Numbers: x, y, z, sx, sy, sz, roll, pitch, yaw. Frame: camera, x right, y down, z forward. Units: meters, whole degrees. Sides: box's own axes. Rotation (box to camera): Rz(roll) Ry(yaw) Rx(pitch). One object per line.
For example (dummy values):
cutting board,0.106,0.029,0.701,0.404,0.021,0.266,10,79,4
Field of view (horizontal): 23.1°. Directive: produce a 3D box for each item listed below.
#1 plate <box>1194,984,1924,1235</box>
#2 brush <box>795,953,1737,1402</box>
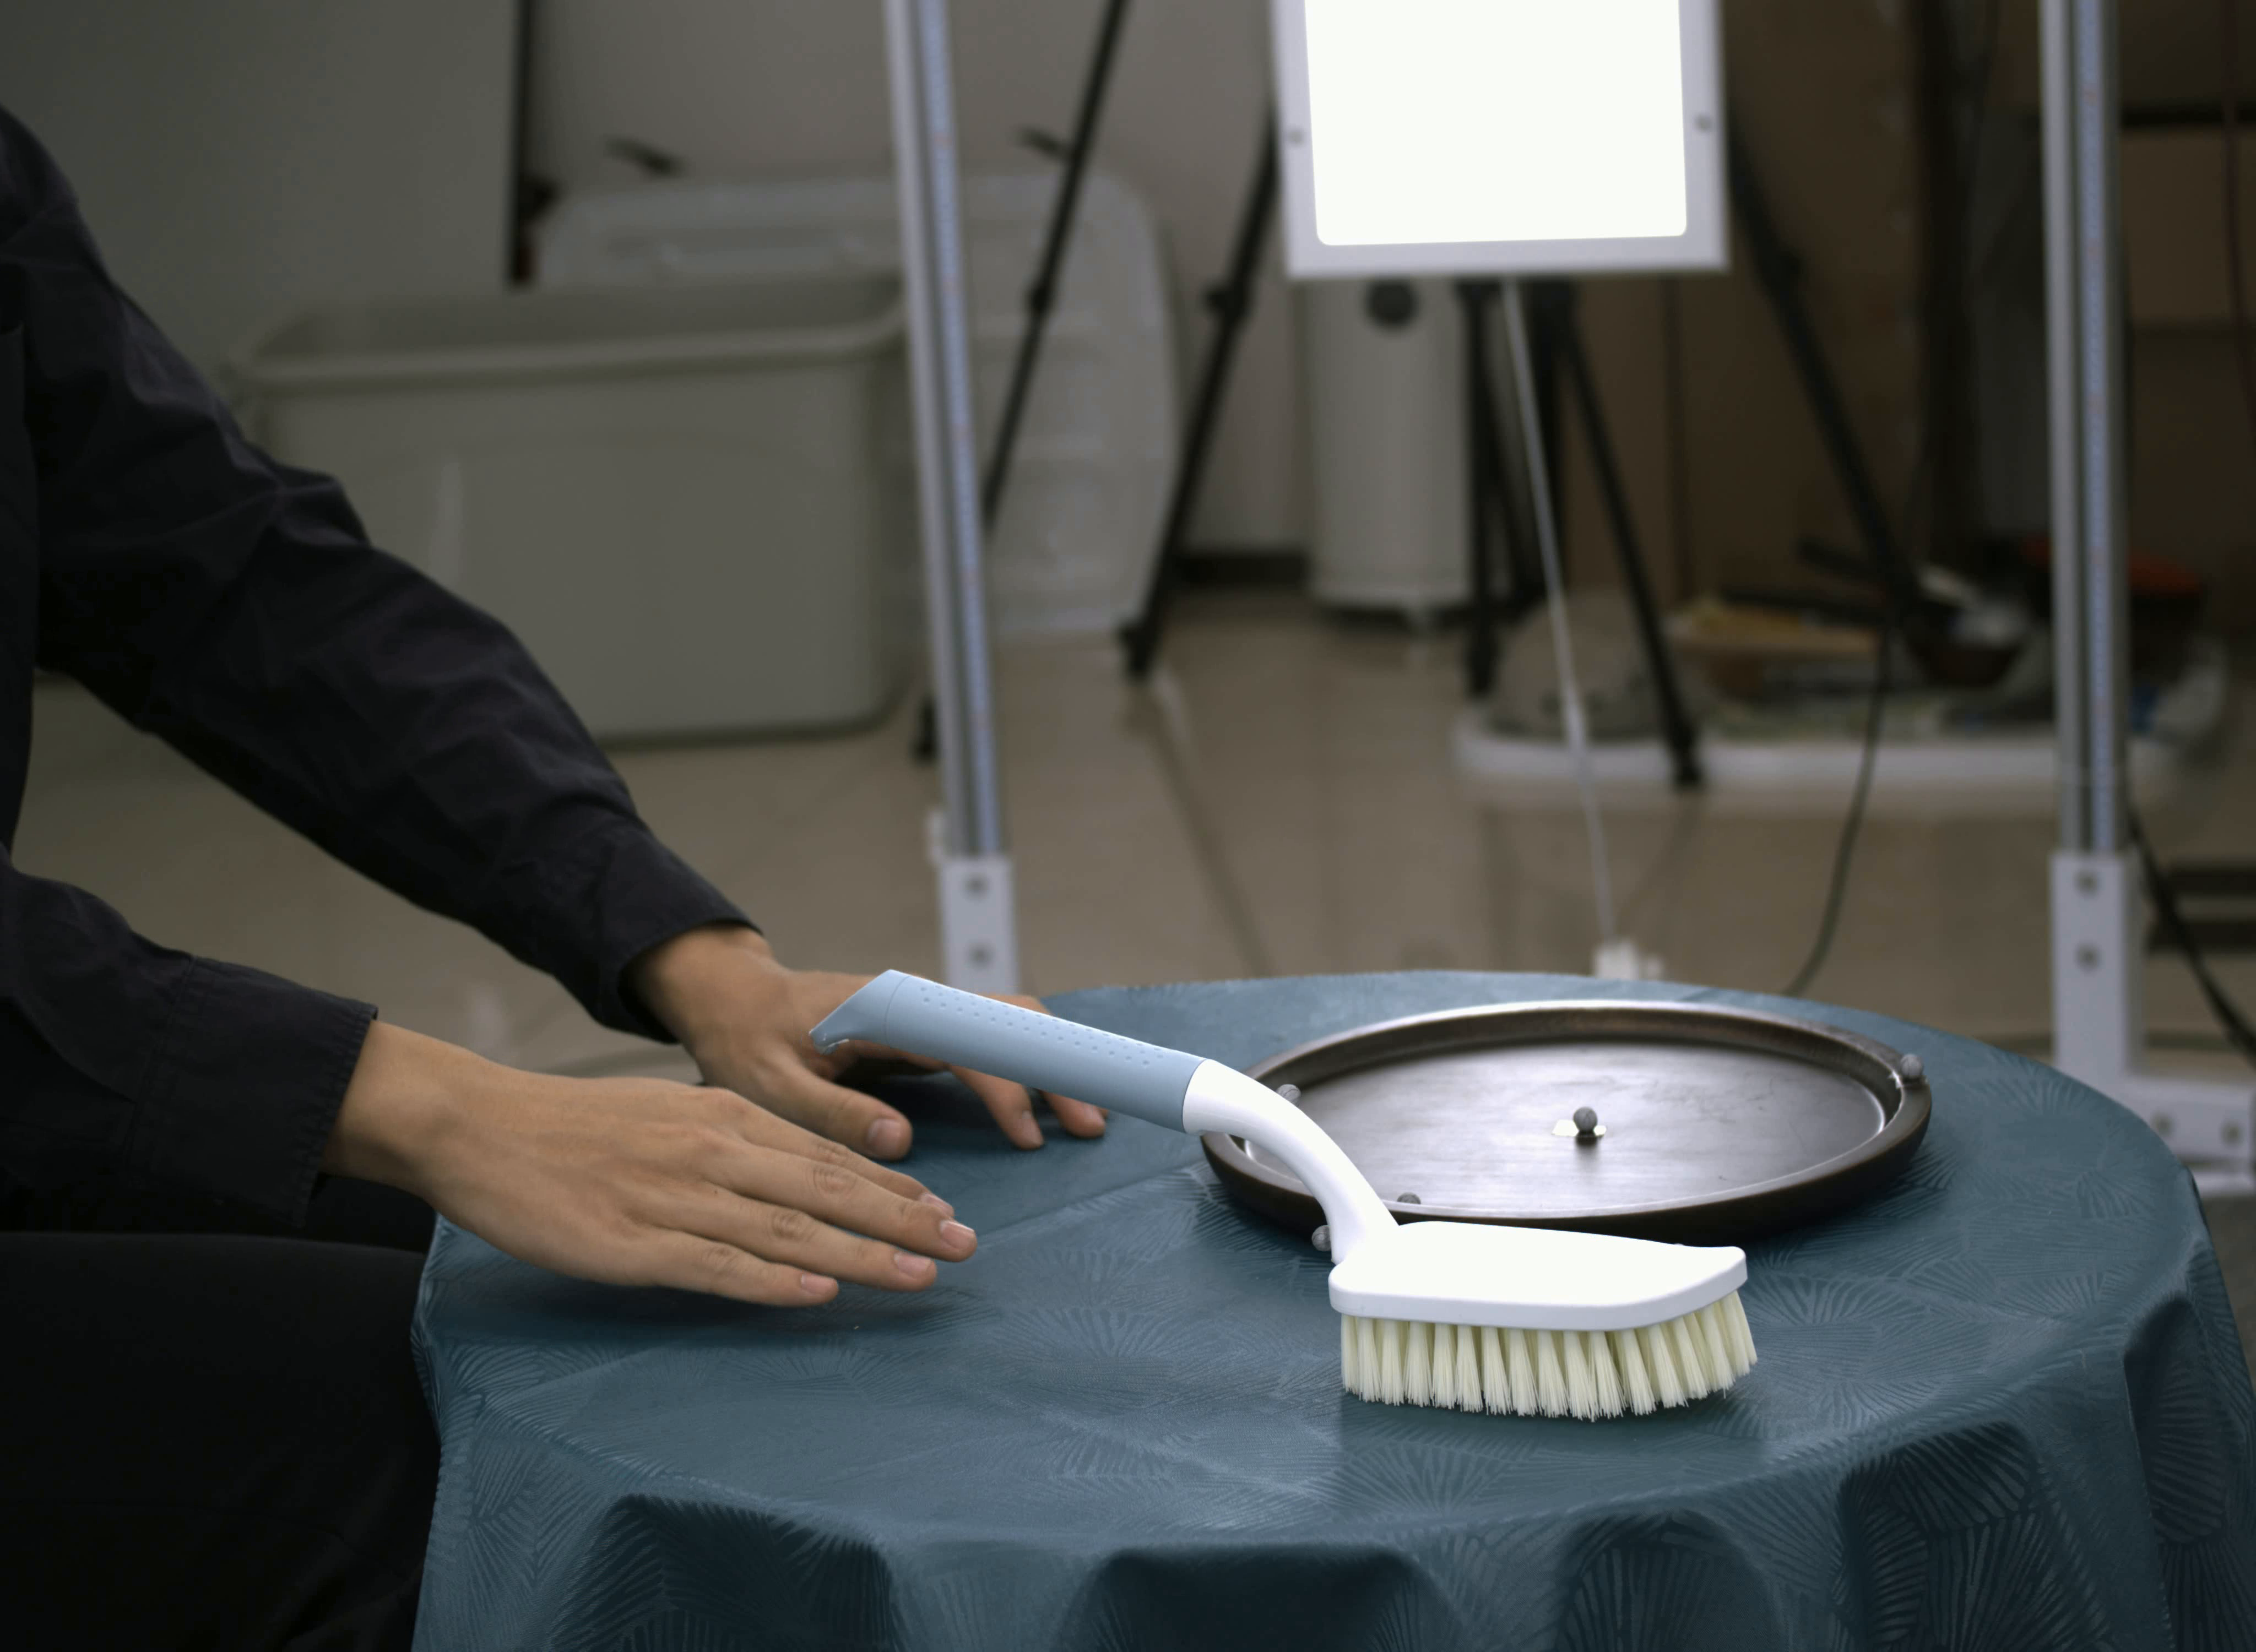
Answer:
plate,0.149,0.098,1.902,0.254,0.029,0.254,-5,16,0
brush,0.037,0.123,1.720,0.330,0.084,0.082,15,-16,25
